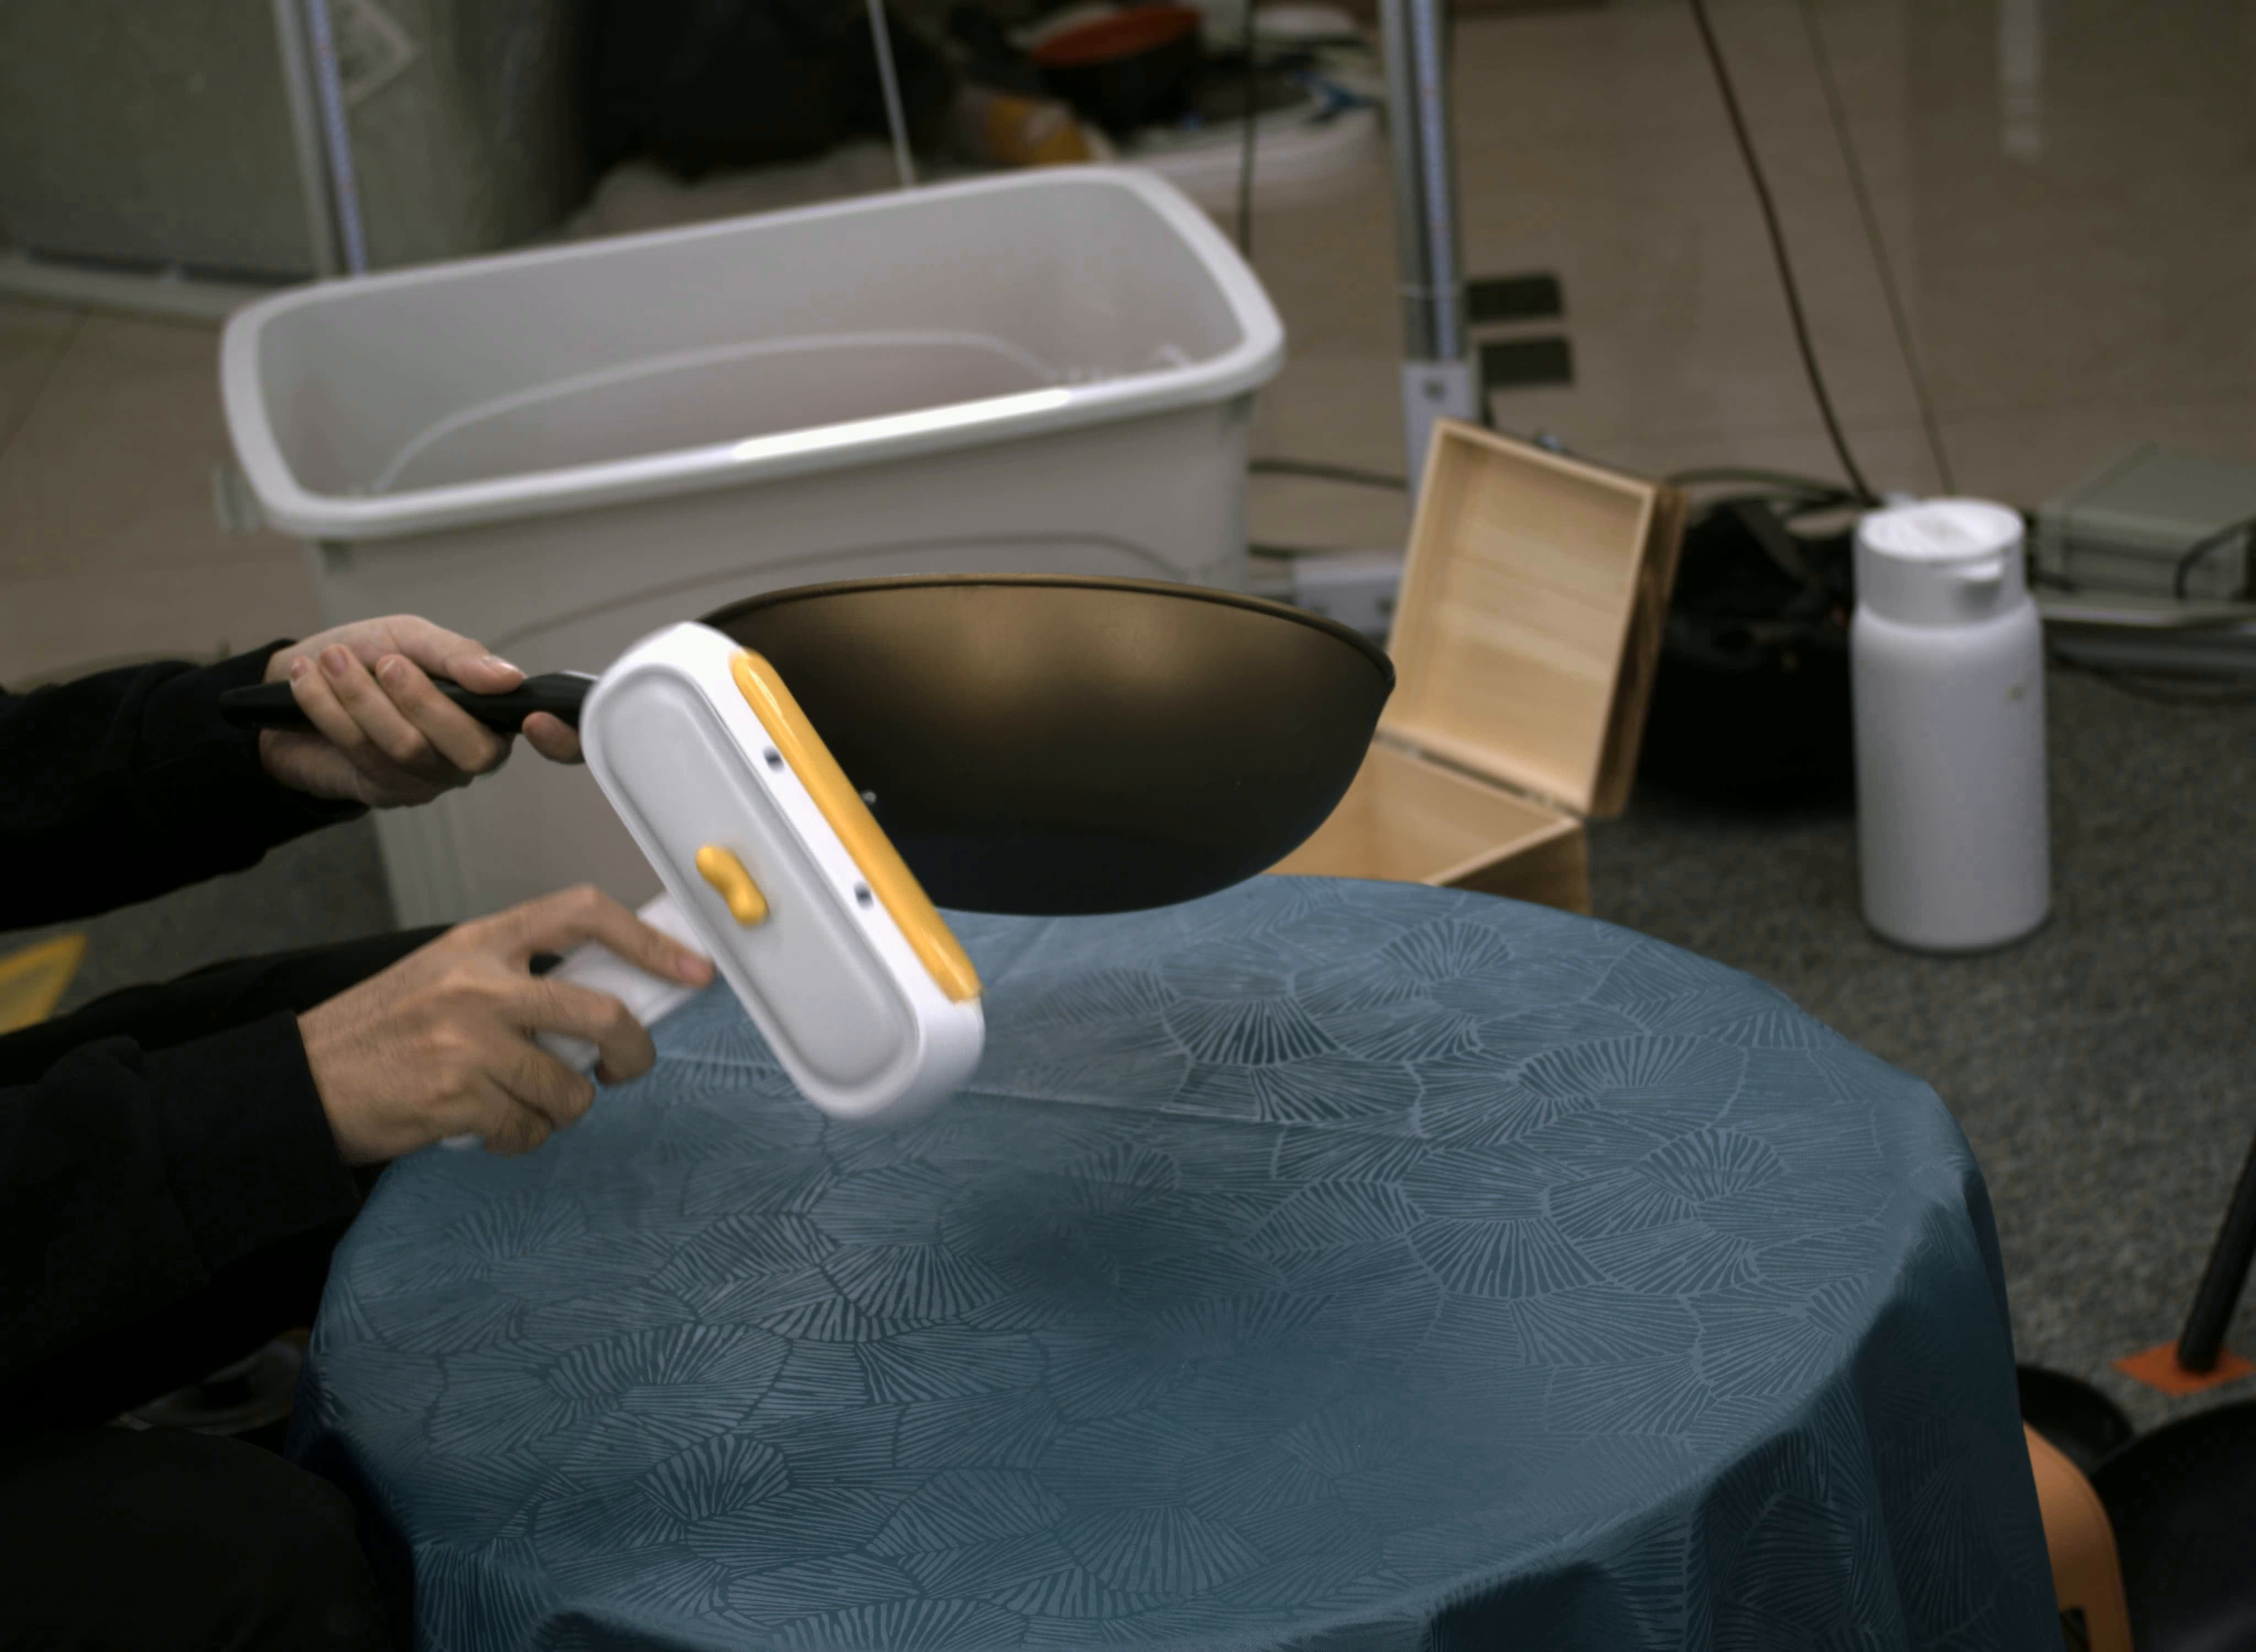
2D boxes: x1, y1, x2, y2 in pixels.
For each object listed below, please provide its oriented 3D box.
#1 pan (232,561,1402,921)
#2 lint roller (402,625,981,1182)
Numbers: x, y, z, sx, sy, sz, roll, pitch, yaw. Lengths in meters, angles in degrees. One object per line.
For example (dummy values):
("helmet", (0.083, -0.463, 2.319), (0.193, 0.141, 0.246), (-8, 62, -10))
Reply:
("pan", (-0.126, -0.020, 2.161), (0.462, 0.086, 0.290), (-1, -15, 12))
("lint roller", (-0.170, 0.054, 1.984), (0.193, 0.193, 0.074), (-38, -2, 15))
